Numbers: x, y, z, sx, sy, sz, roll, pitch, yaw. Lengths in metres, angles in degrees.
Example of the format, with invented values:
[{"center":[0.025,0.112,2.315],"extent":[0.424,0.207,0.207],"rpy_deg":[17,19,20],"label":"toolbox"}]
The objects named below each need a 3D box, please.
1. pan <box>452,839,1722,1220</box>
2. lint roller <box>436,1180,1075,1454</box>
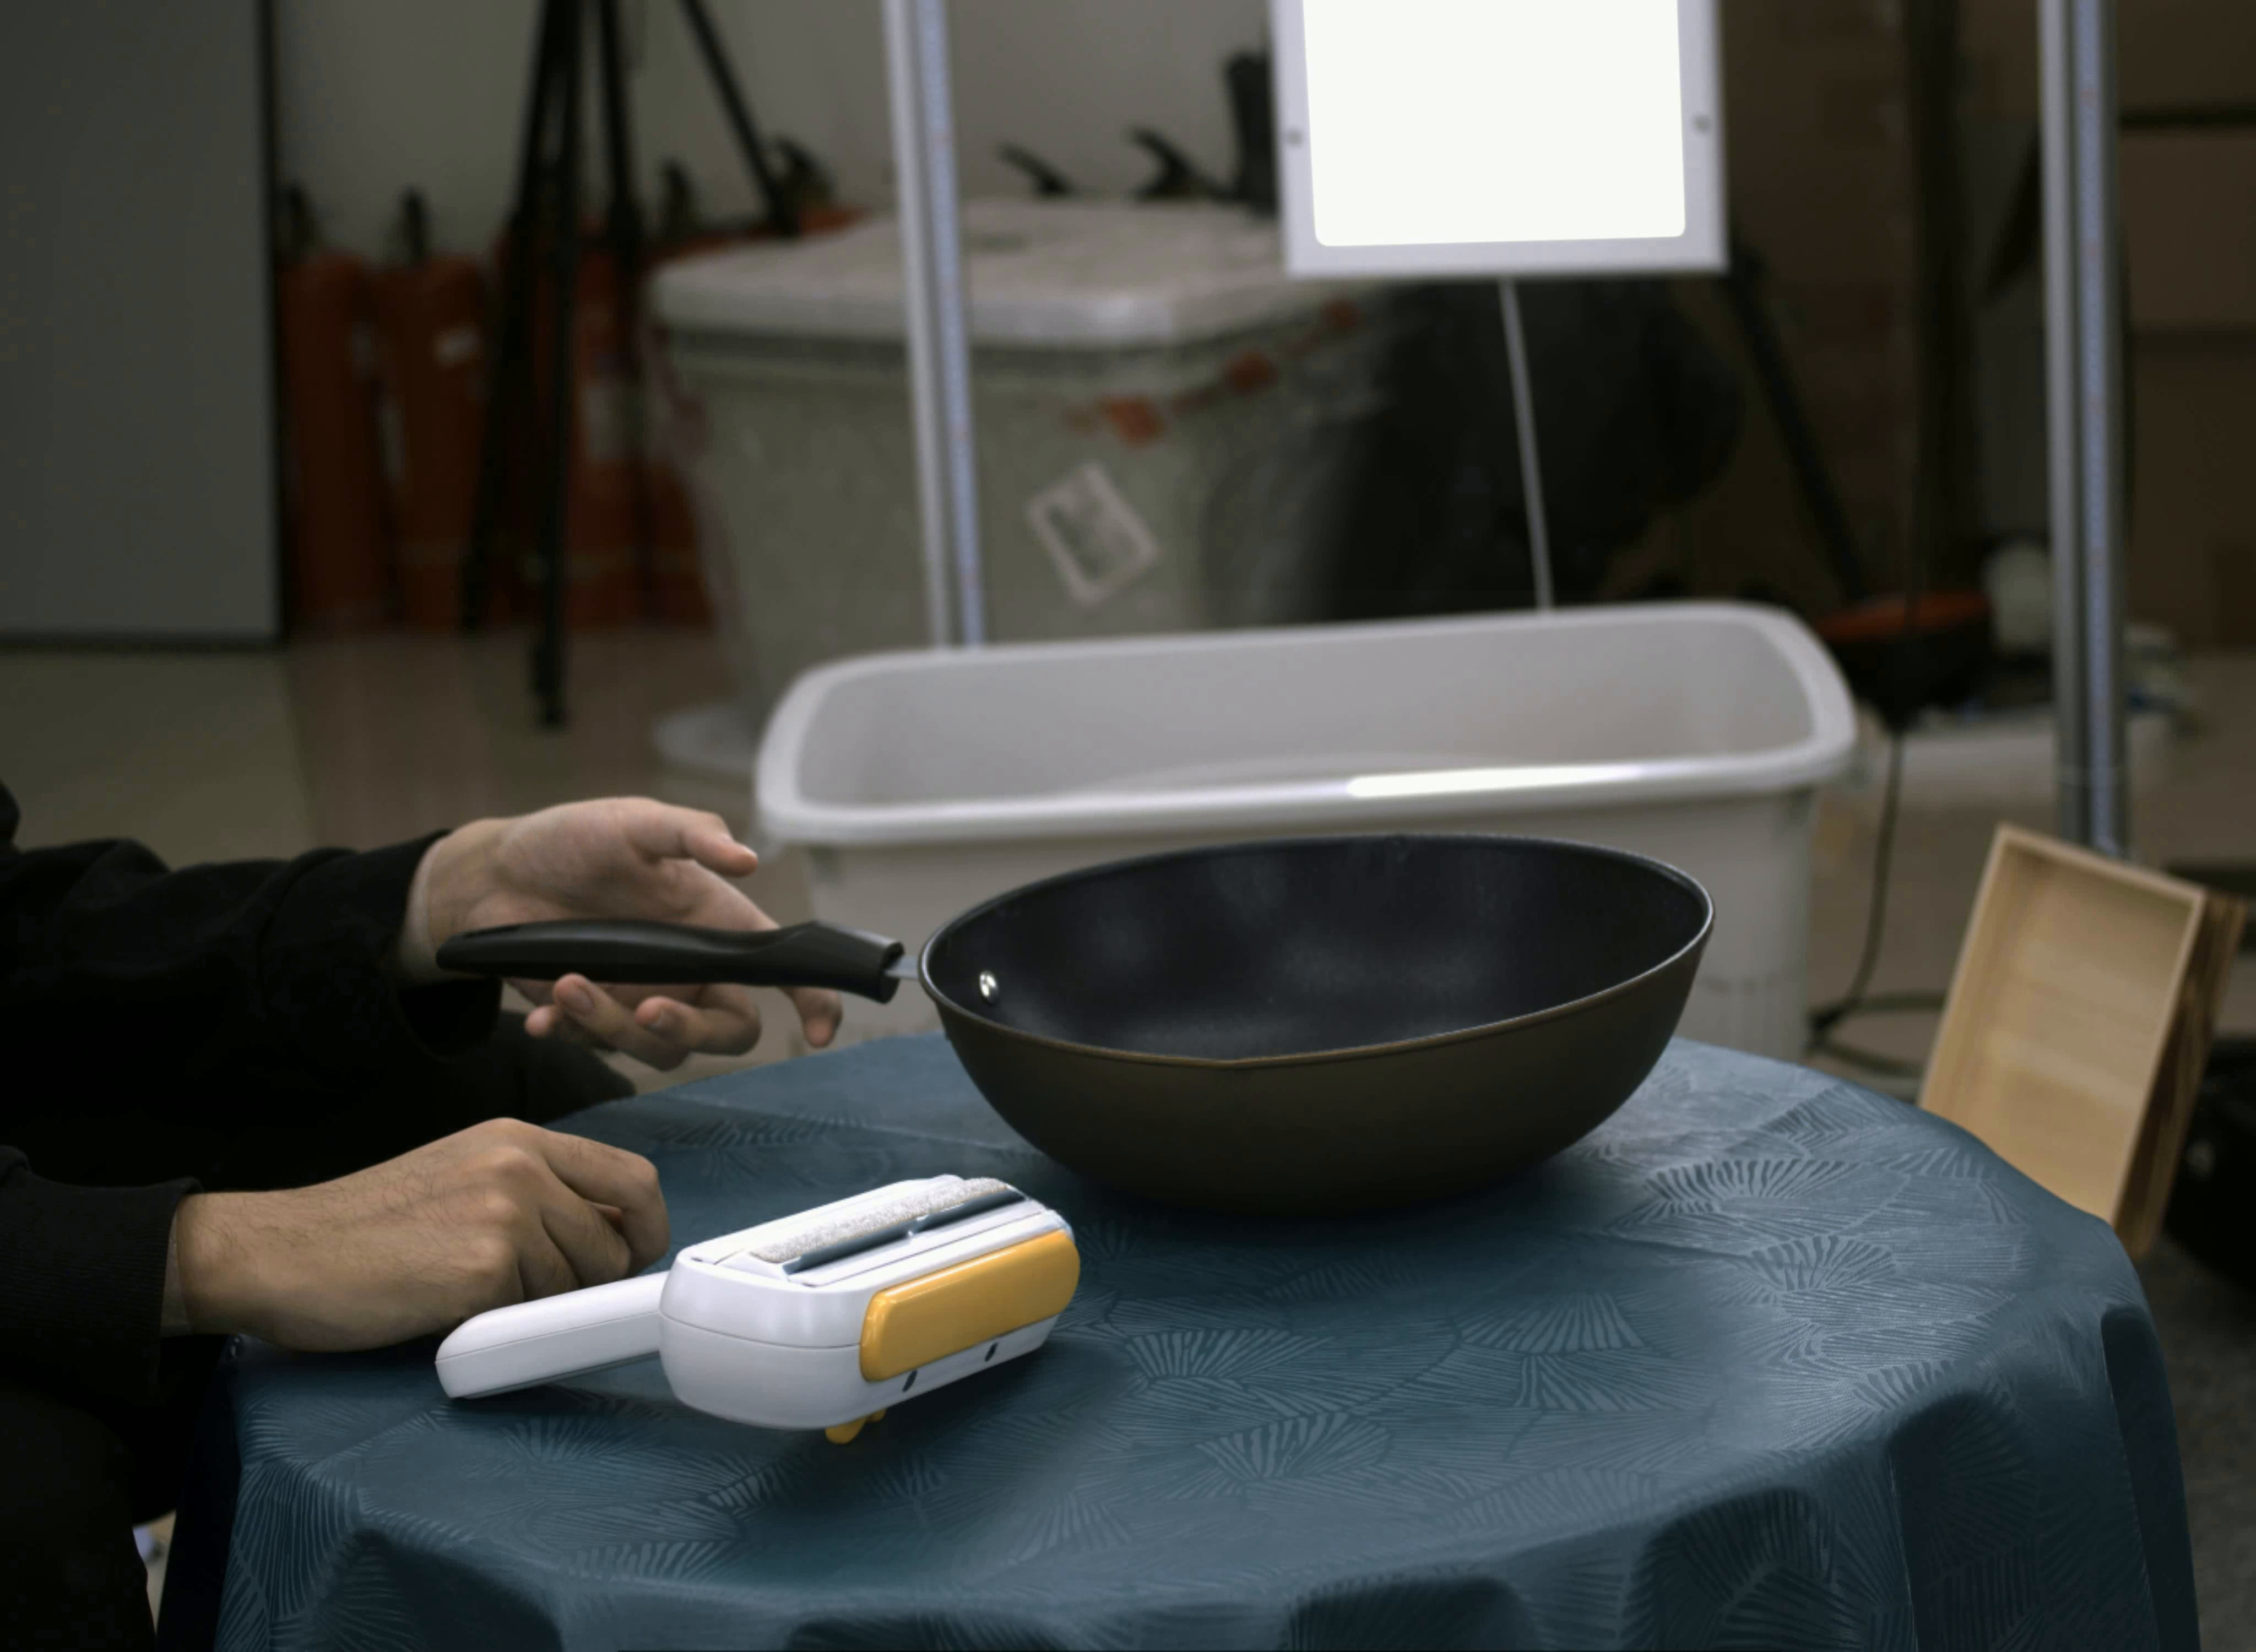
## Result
[{"center":[-0.019,0.076,1.935],"extent":[0.468,0.087,0.284],"rpy_deg":[-1,14,17],"label":"pan"},{"center":[-0.132,0.150,1.704],"extent":[0.196,0.074,0.188],"rpy_deg":[1,10,29],"label":"lint roller"}]
